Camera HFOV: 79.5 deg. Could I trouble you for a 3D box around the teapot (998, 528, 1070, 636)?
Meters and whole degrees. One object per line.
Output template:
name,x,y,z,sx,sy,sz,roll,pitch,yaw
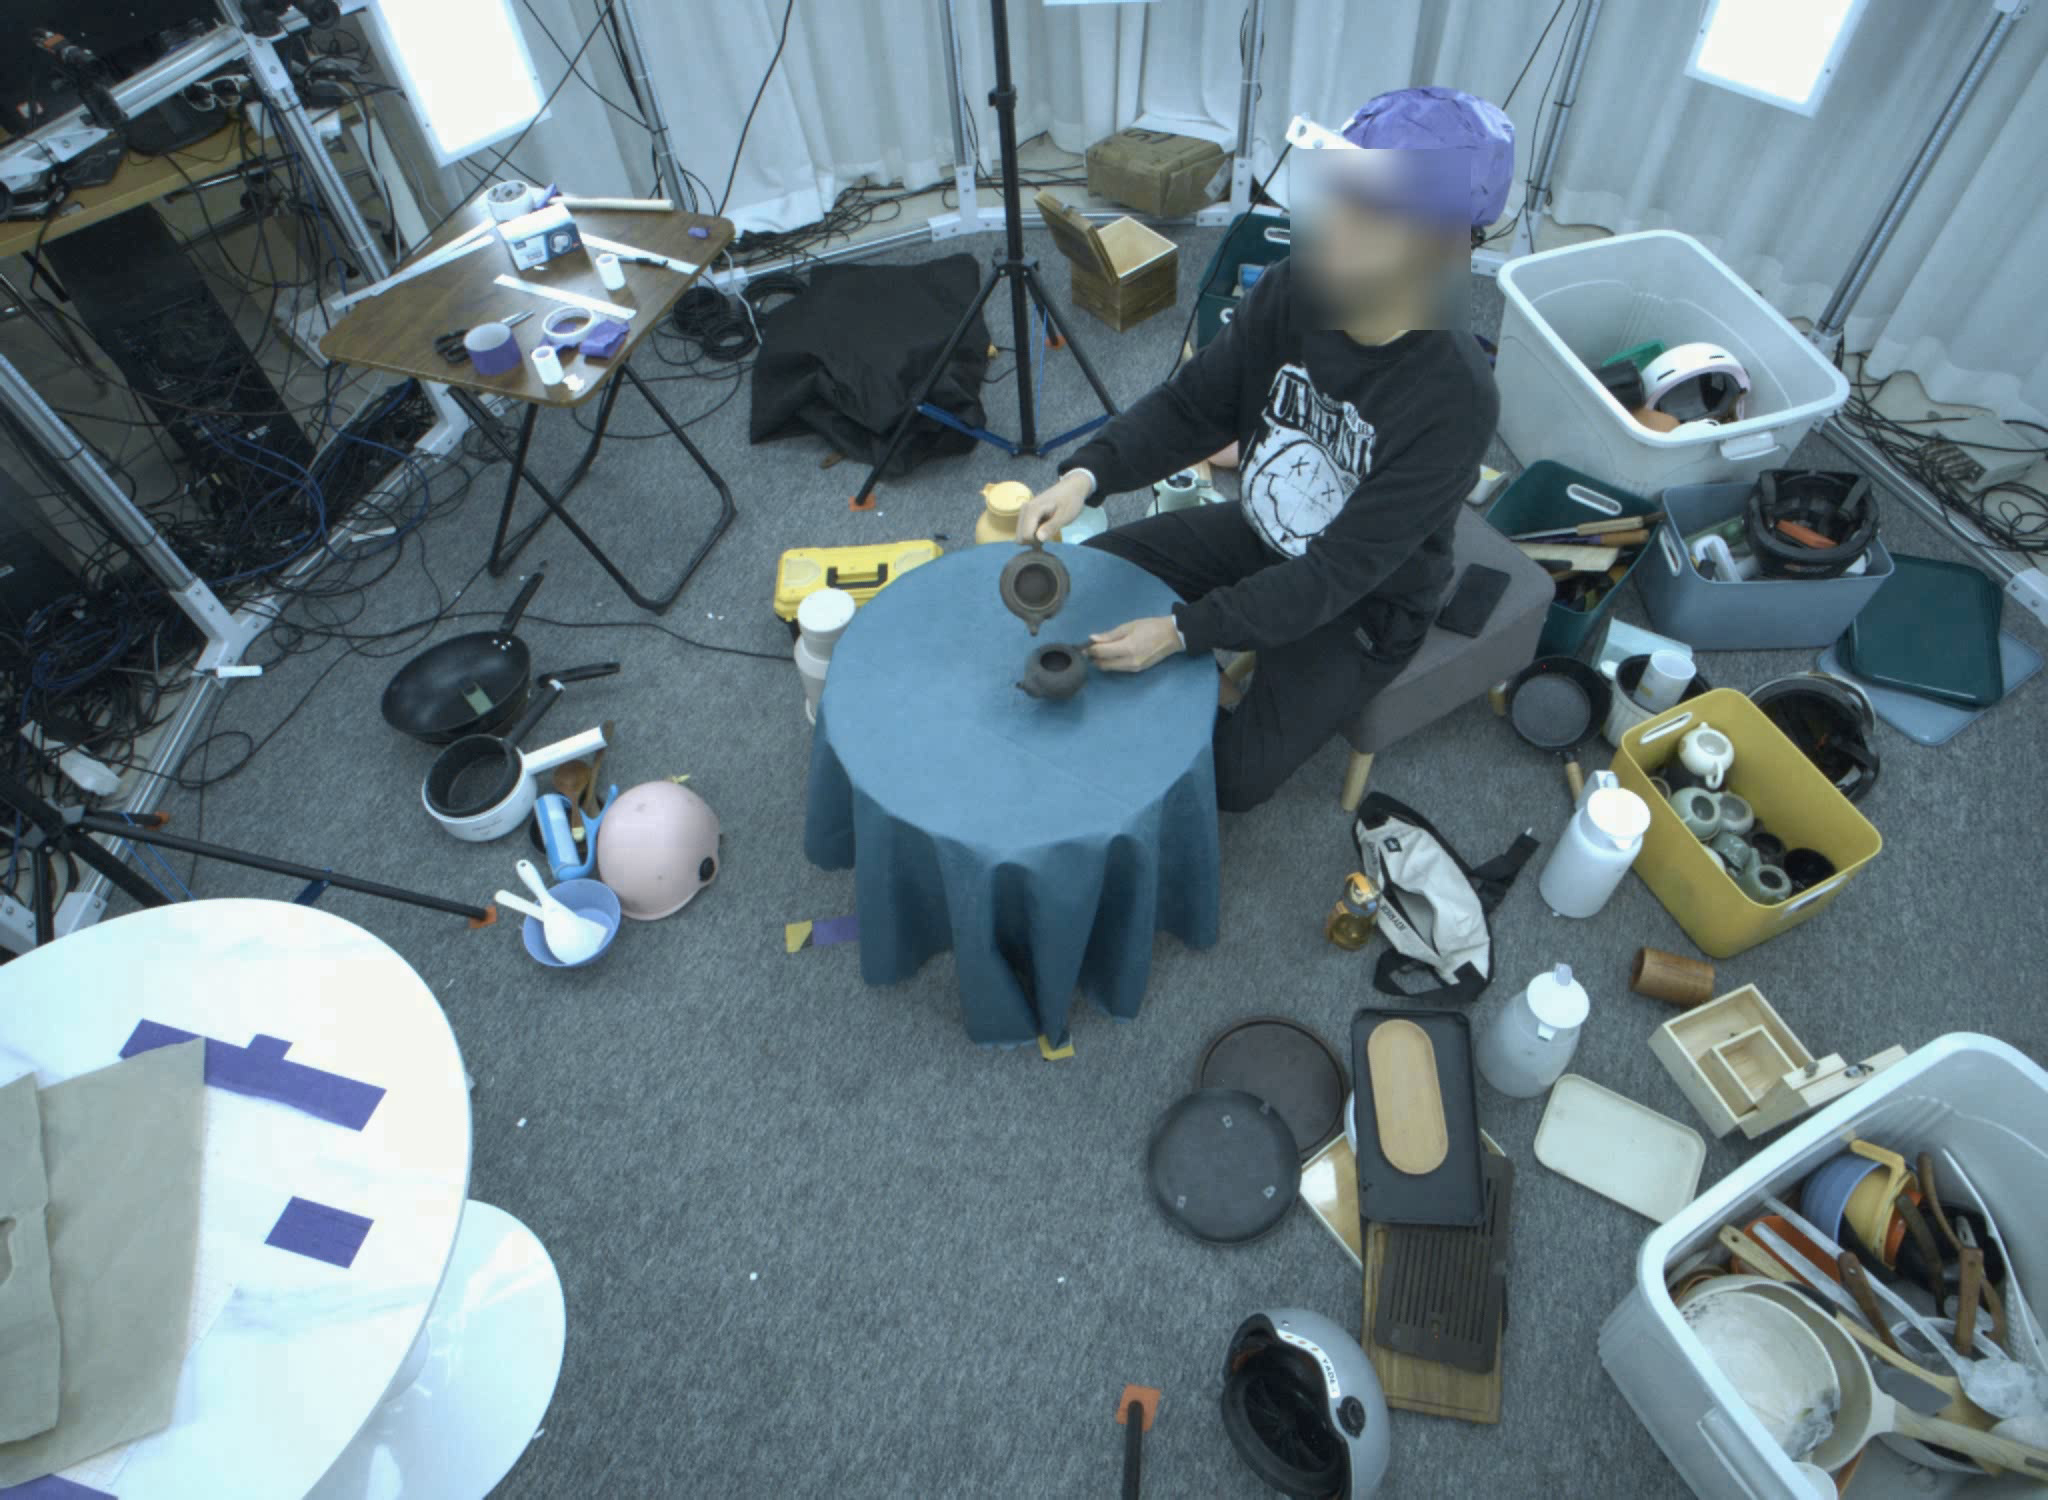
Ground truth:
teapot,0.014,-0.242,1.761,0.103,0.053,0.154,-3,99,-8

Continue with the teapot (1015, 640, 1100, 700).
teapot,0.050,-0.117,1.810,0.155,0.065,0.090,-31,58,-21
